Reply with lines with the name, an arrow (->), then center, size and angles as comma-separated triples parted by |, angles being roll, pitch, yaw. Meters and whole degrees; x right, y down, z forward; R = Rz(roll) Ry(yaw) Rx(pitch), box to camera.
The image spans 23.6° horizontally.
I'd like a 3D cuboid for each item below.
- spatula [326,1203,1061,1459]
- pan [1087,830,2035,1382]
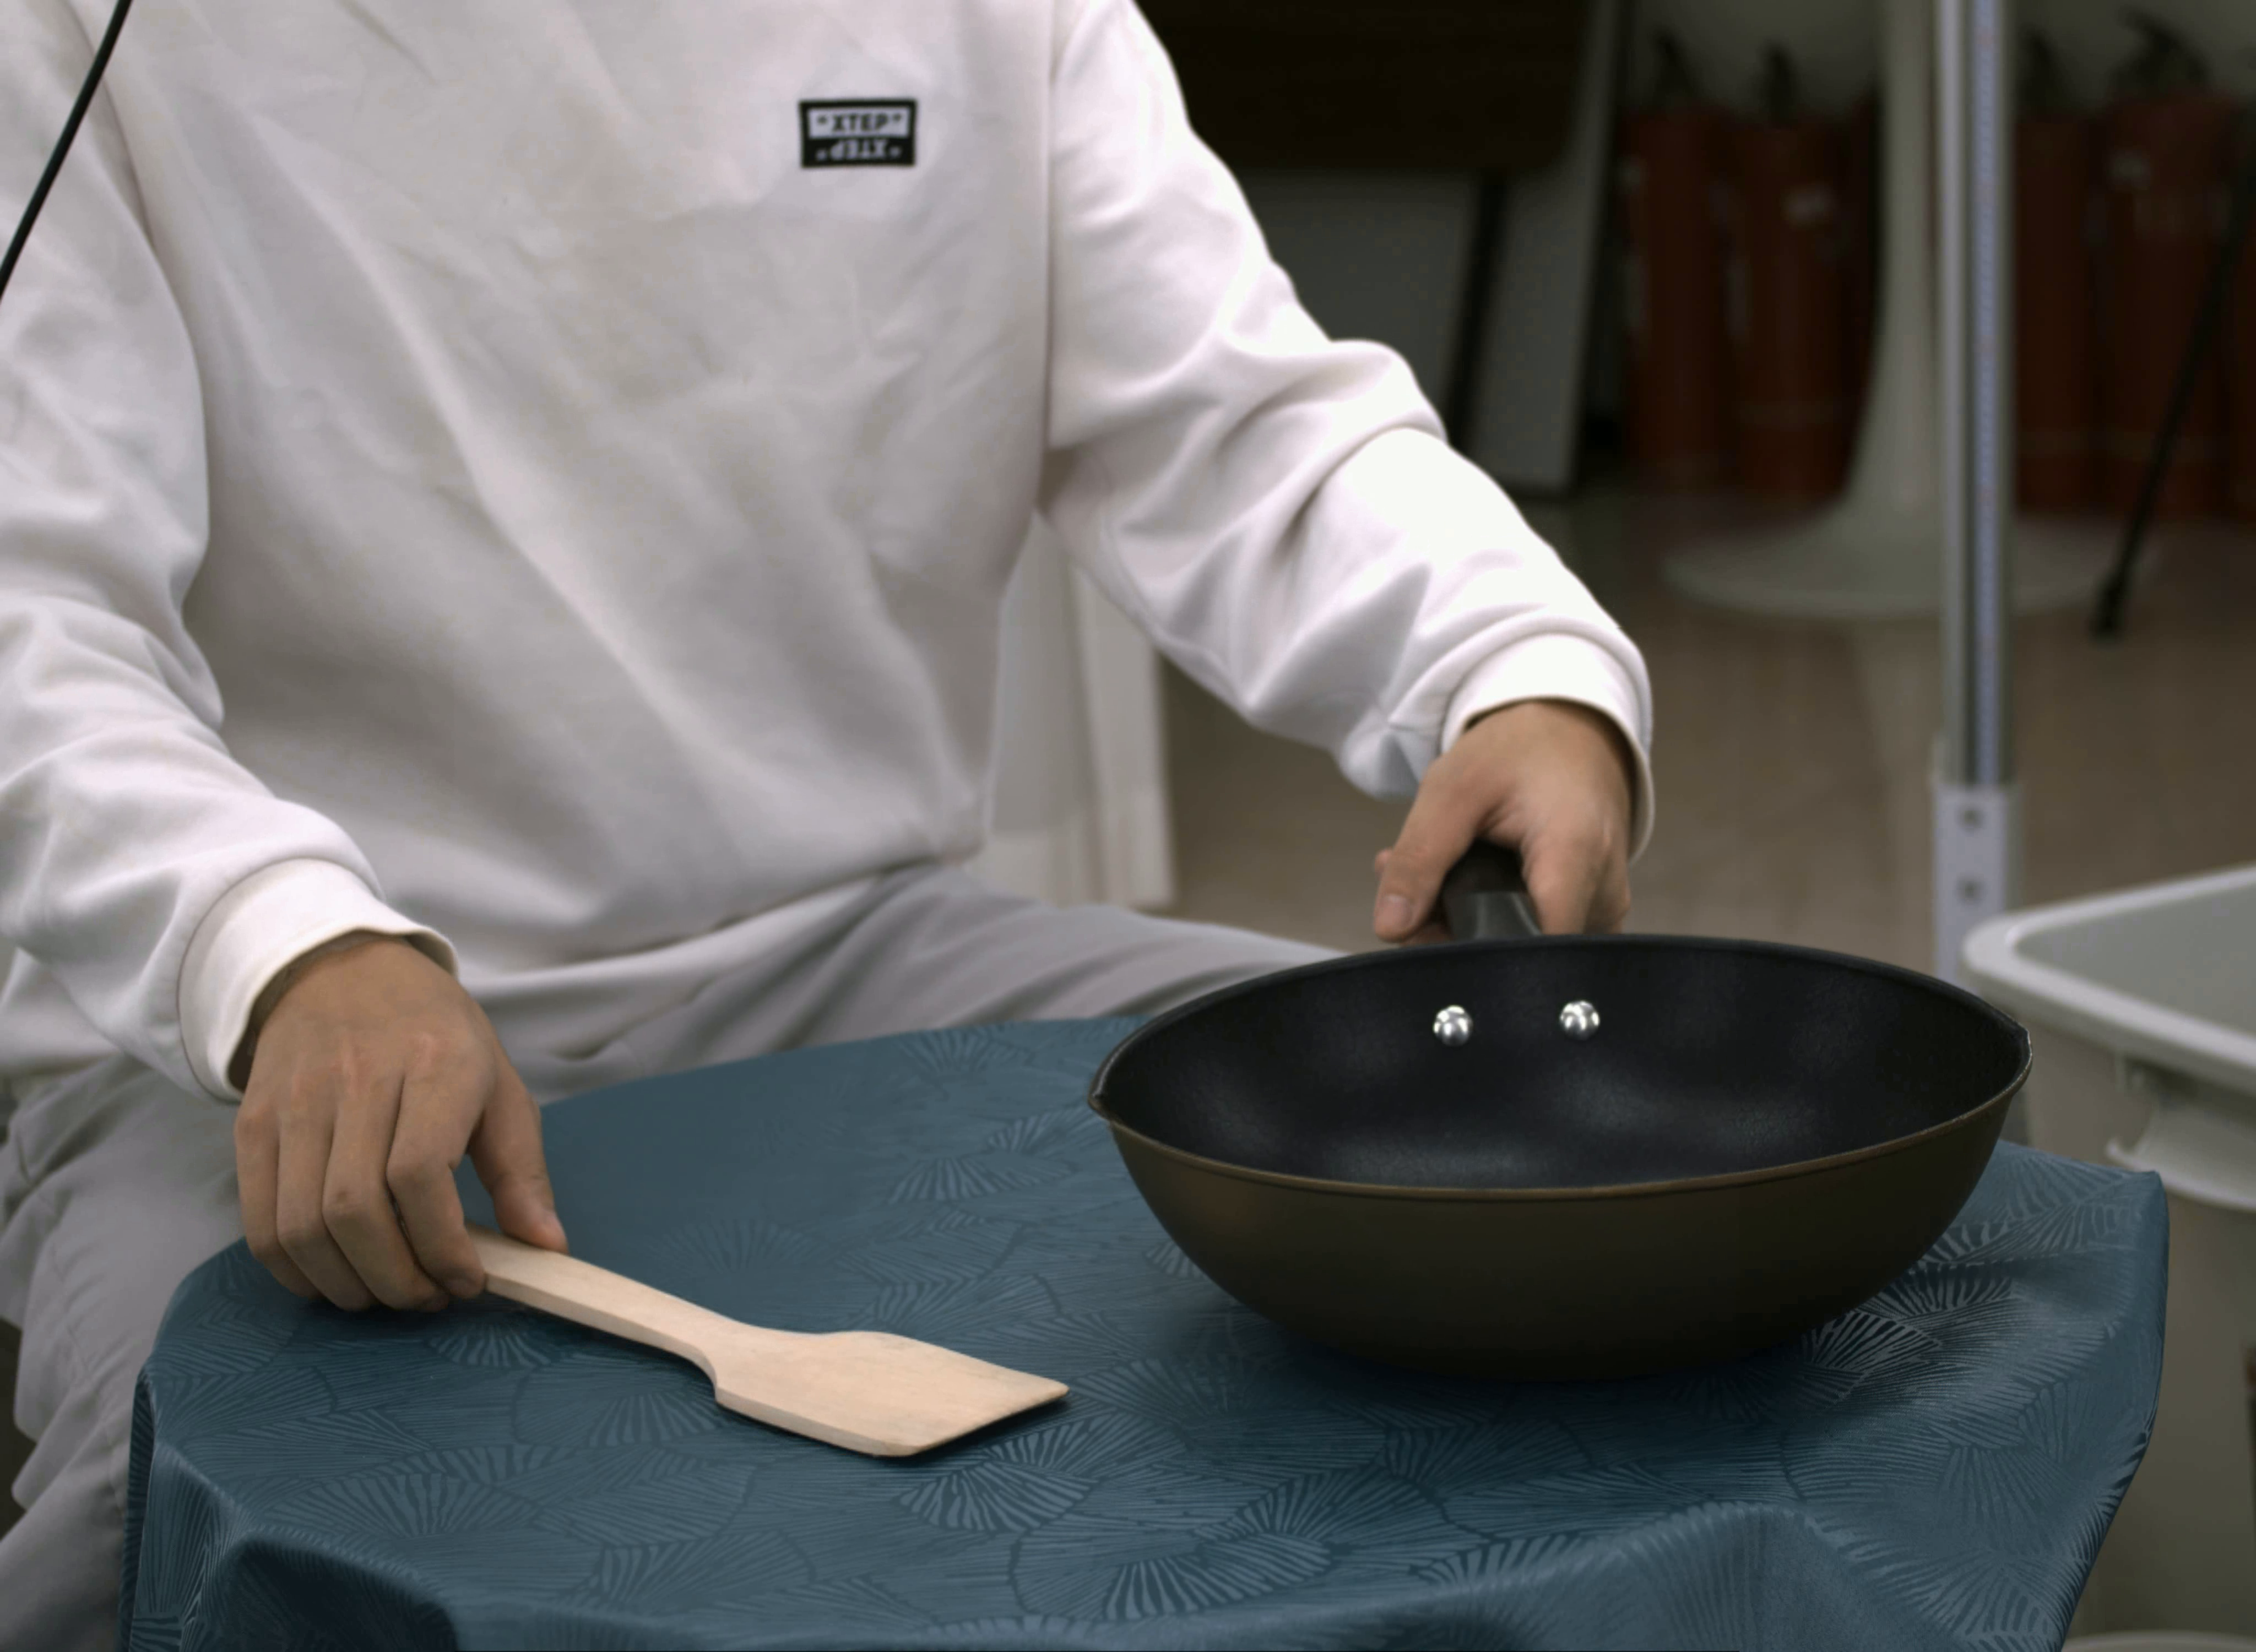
spatula -> -0.146, 0.151, 1.654 | 0.295, 0.011, 0.071 | 12, 20, 42
pan -> 0.128, 0.086, 1.712 | 0.284, 0.088, 0.464 | -3, 12, -1
